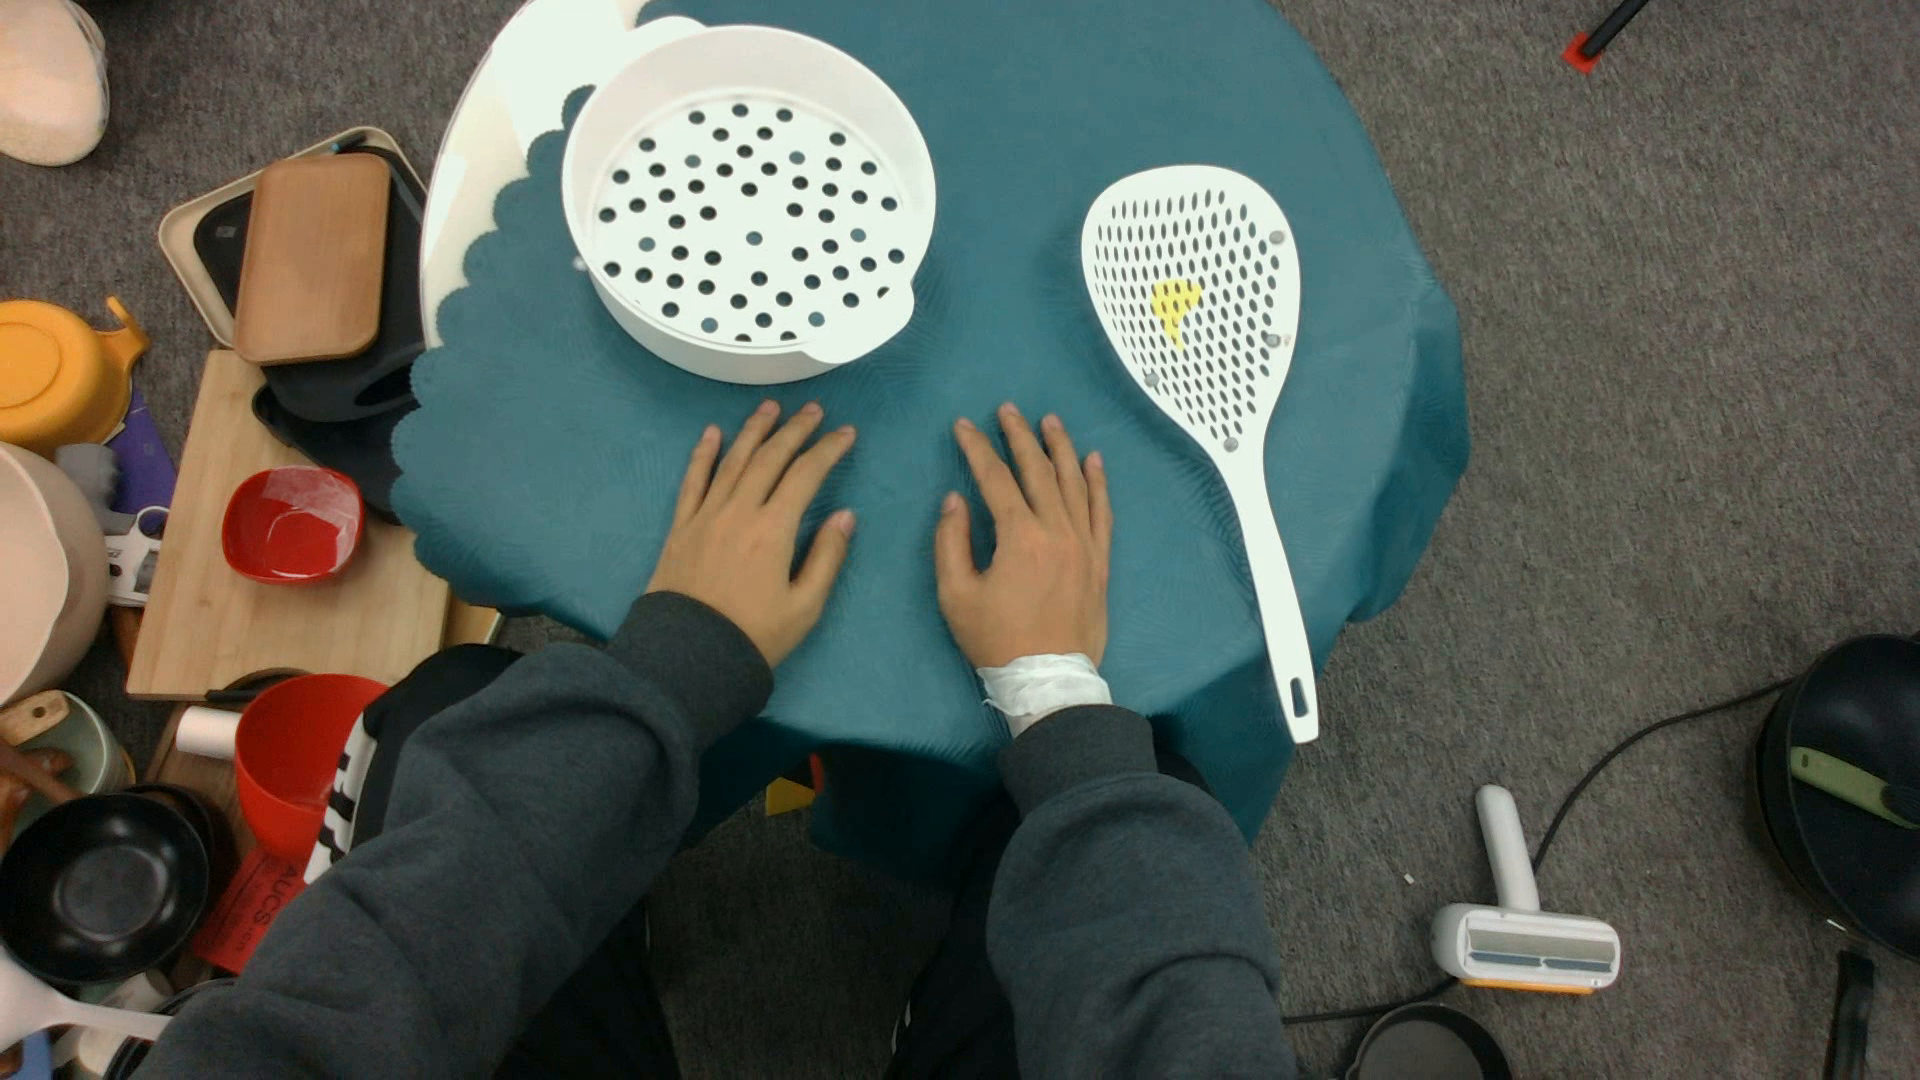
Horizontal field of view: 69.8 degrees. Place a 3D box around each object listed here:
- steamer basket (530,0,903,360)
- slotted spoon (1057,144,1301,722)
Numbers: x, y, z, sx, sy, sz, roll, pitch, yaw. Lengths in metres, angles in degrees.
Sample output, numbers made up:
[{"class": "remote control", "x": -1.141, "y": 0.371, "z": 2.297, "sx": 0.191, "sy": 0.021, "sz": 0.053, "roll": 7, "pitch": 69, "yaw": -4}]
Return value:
[{"class": "steamer basket", "x": -0.135, "y": -0.199, "z": 0.779, "sx": 0.202, "sy": 0.069, "sz": 0.230, "roll": -37, "pitch": 80, "yaw": -17}, {"class": "slotted spoon", "x": 0.146, "y": -0.063, "z": 0.808, "sx": 0.137, "sy": 0.050, "sz": 0.348, "roll": -13, "pitch": 81, "yaw": -18}]
